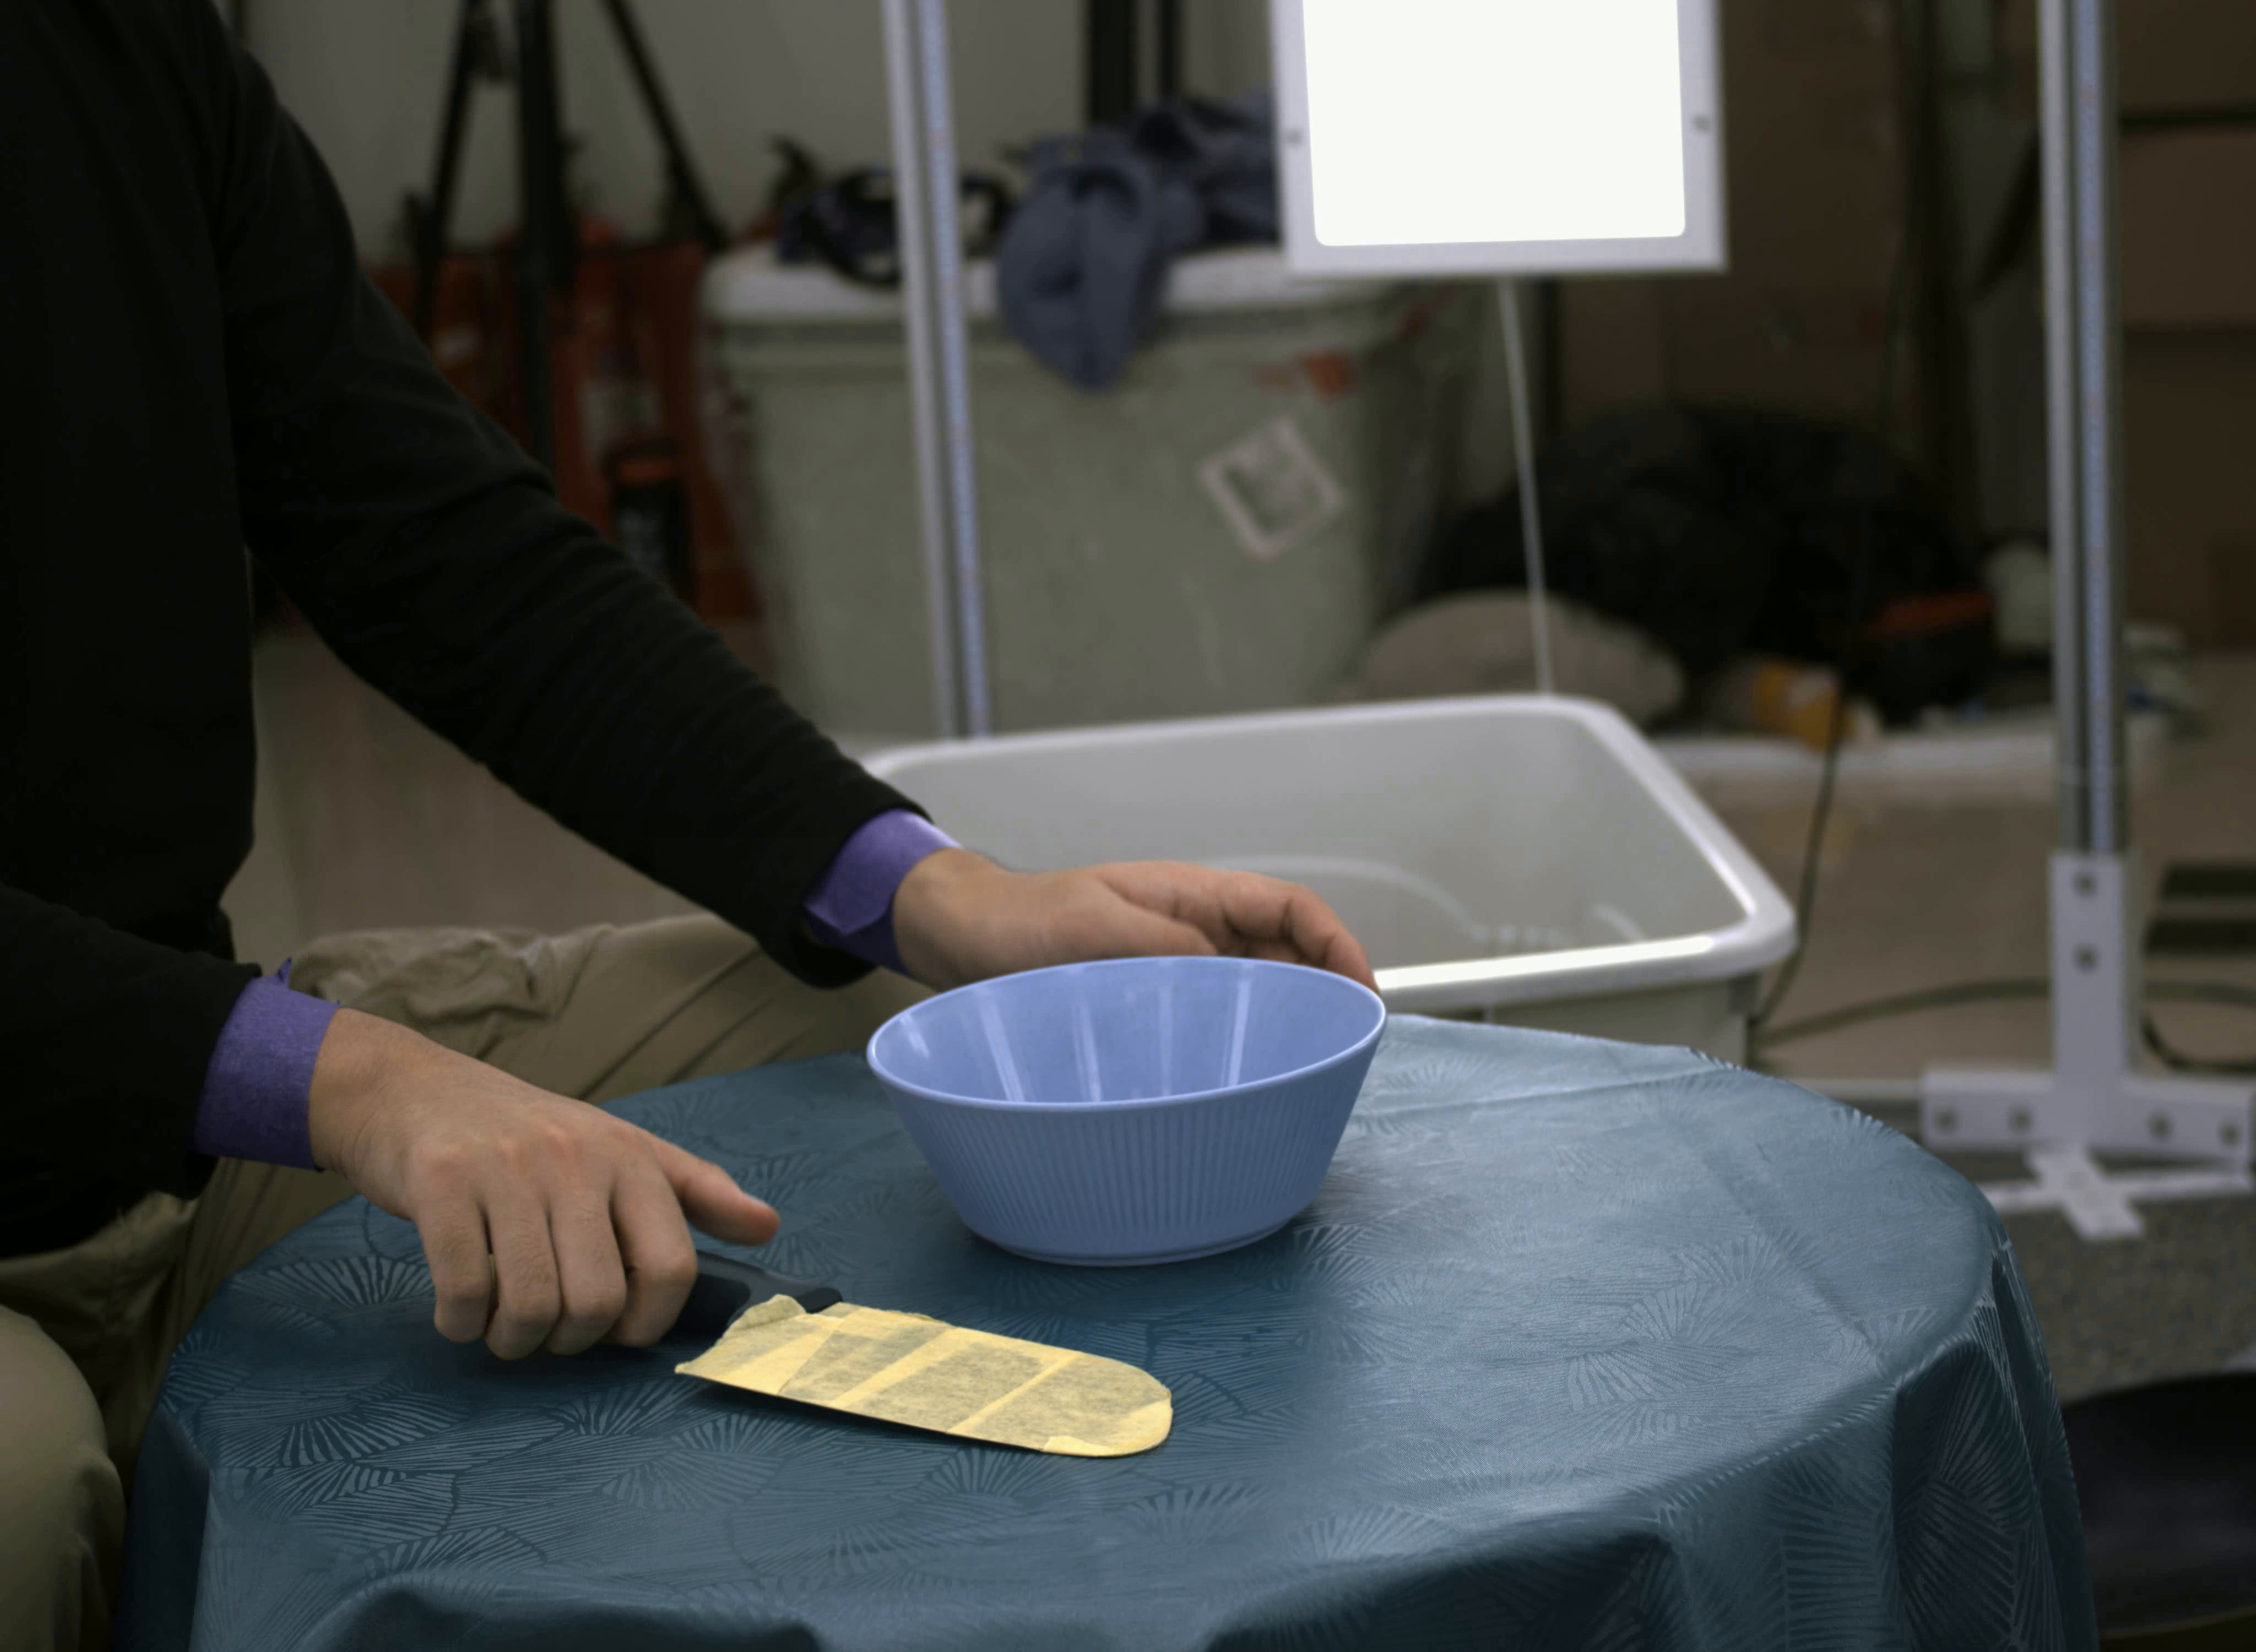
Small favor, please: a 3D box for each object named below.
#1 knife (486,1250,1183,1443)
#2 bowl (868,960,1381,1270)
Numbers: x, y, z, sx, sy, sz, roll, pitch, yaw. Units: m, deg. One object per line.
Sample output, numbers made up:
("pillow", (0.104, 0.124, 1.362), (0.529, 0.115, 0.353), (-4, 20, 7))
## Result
("knife", (-0.101, 0.167, 1.746), (0.295, 0.027, 0.079), (7, 17, 38))
("bowl", (0.001, 0.100, 1.862), (0.175, 0.070, 0.176), (-5, 14, 0))
